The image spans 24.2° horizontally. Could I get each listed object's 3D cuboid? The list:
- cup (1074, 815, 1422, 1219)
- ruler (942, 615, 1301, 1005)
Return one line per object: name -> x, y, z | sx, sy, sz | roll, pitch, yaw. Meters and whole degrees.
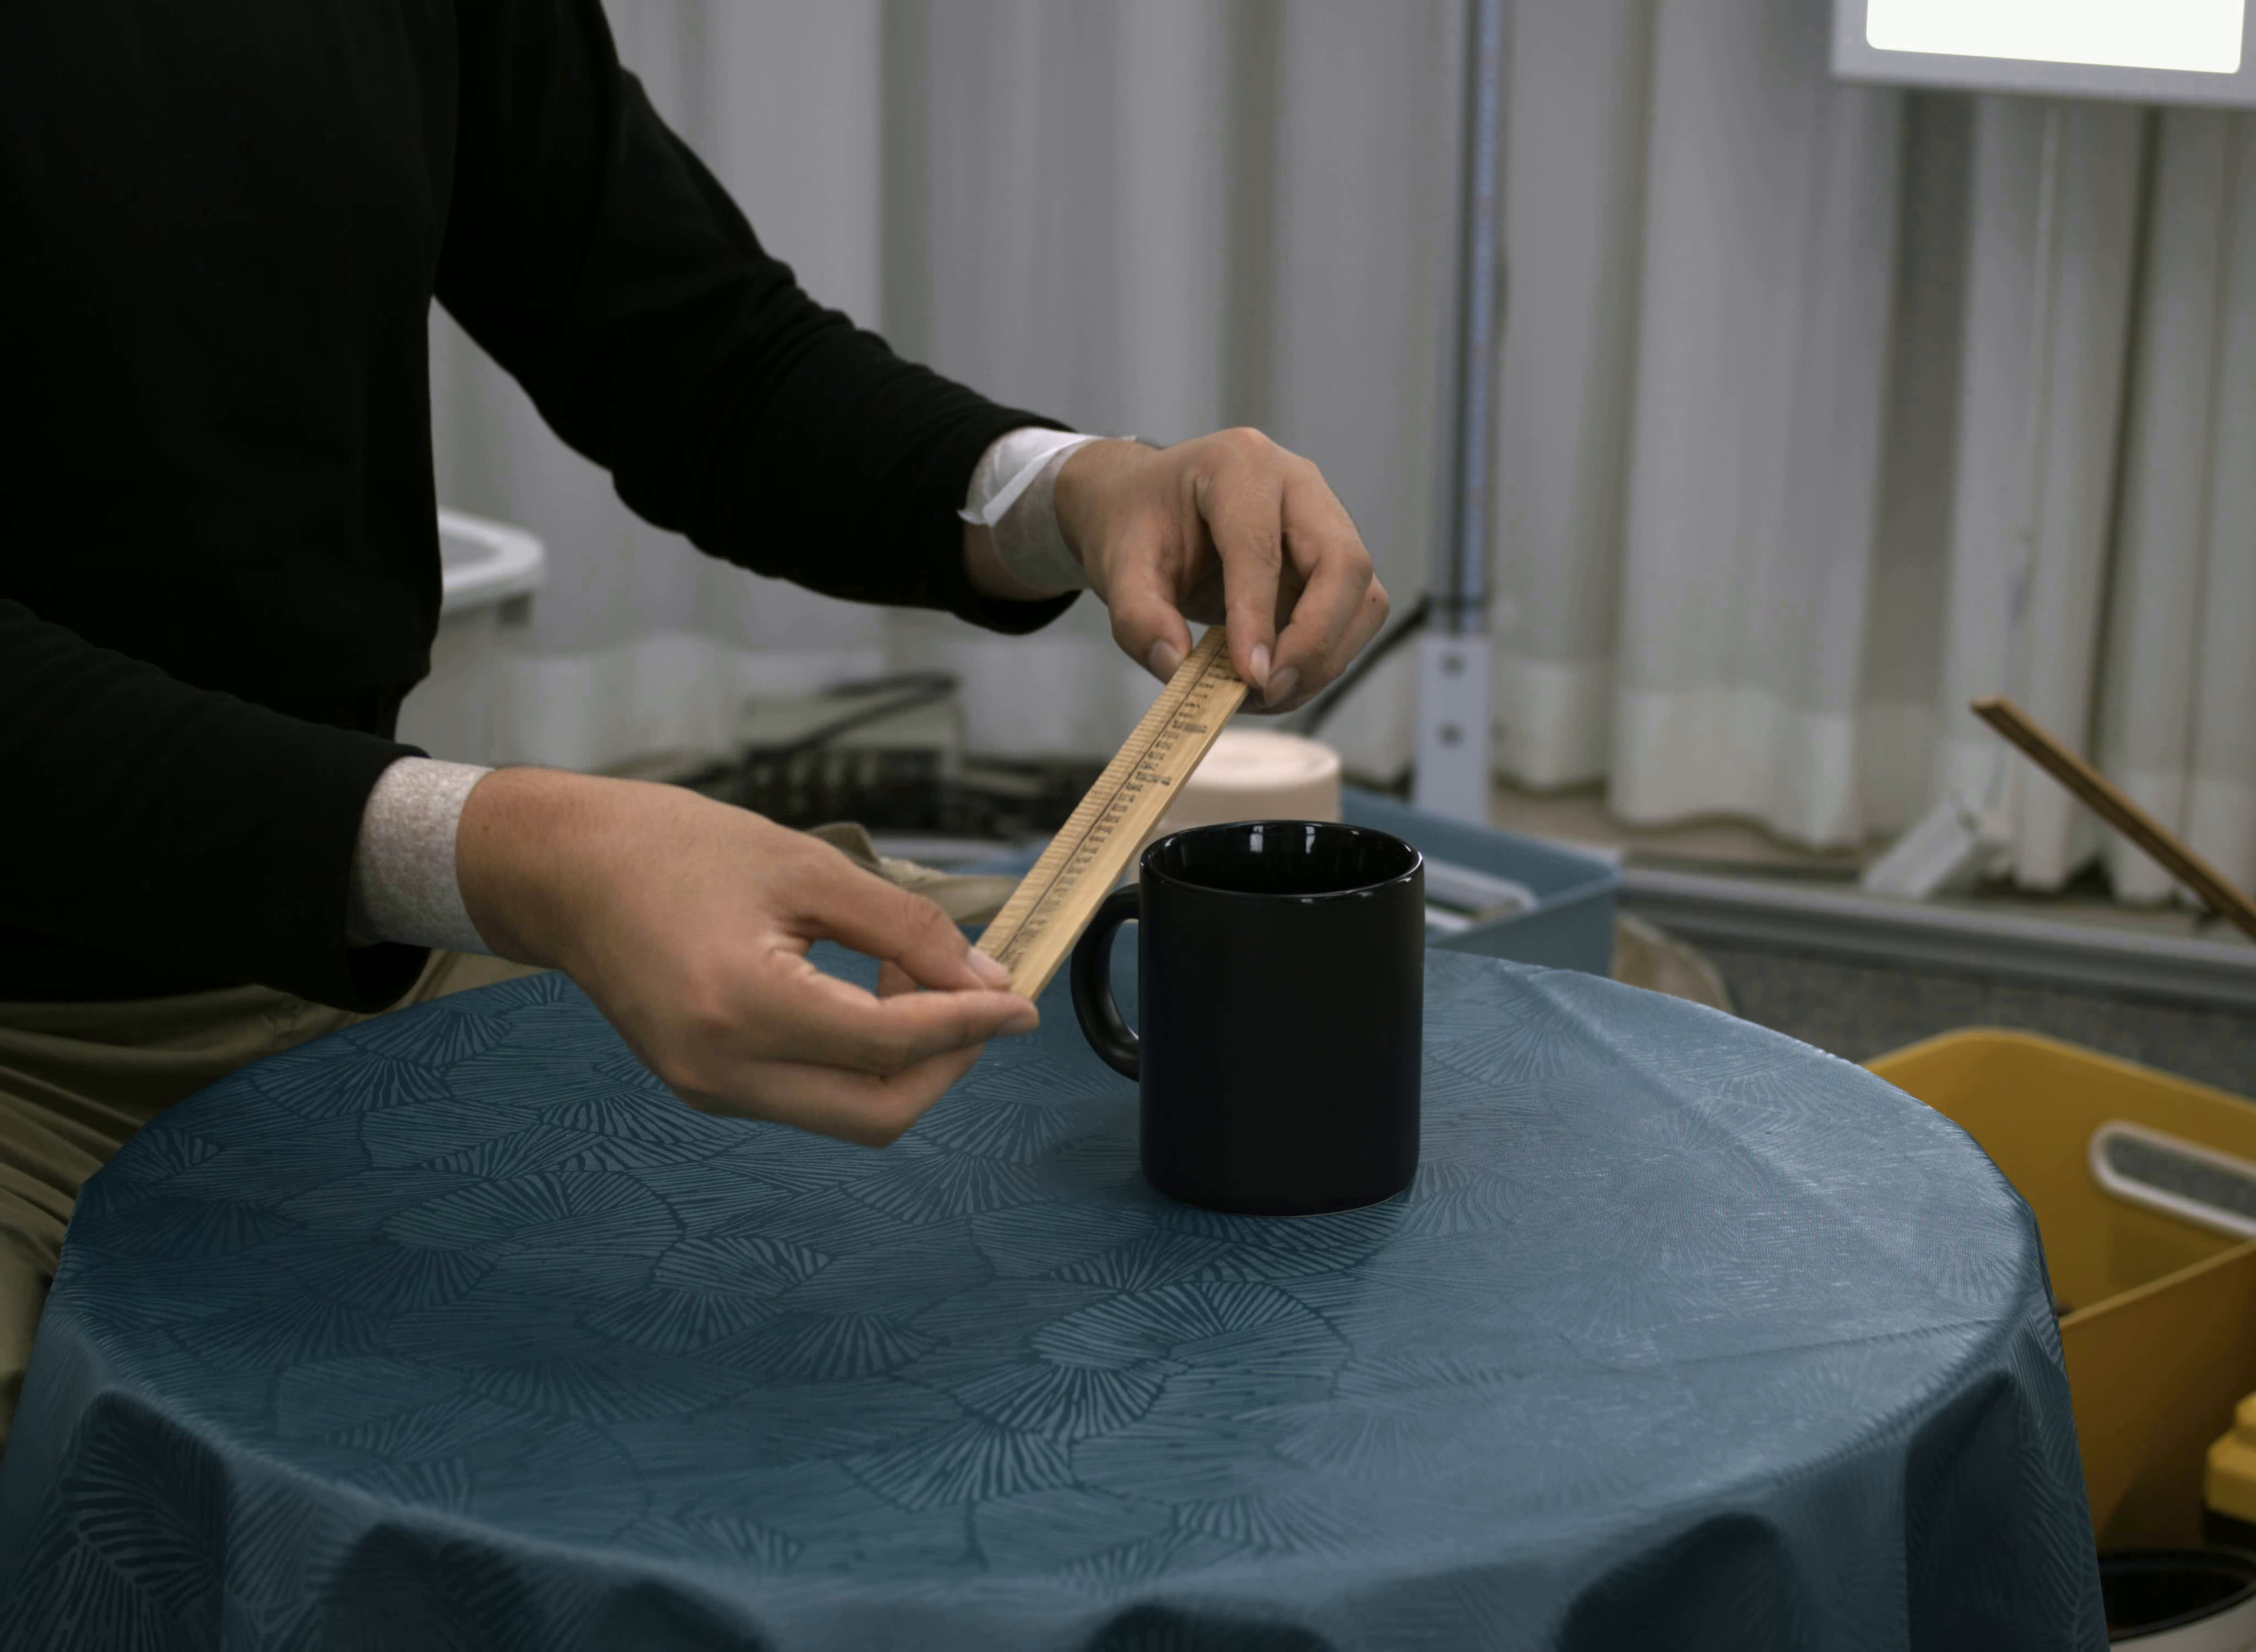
cup -> 0.033, 0.055, 1.635 | 0.122, 0.106, 0.089 | 14, 23, 37
ruler -> 0.003, -0.013, 1.622 | 0.027, 0.022, 0.331 | 16, 23, 10
